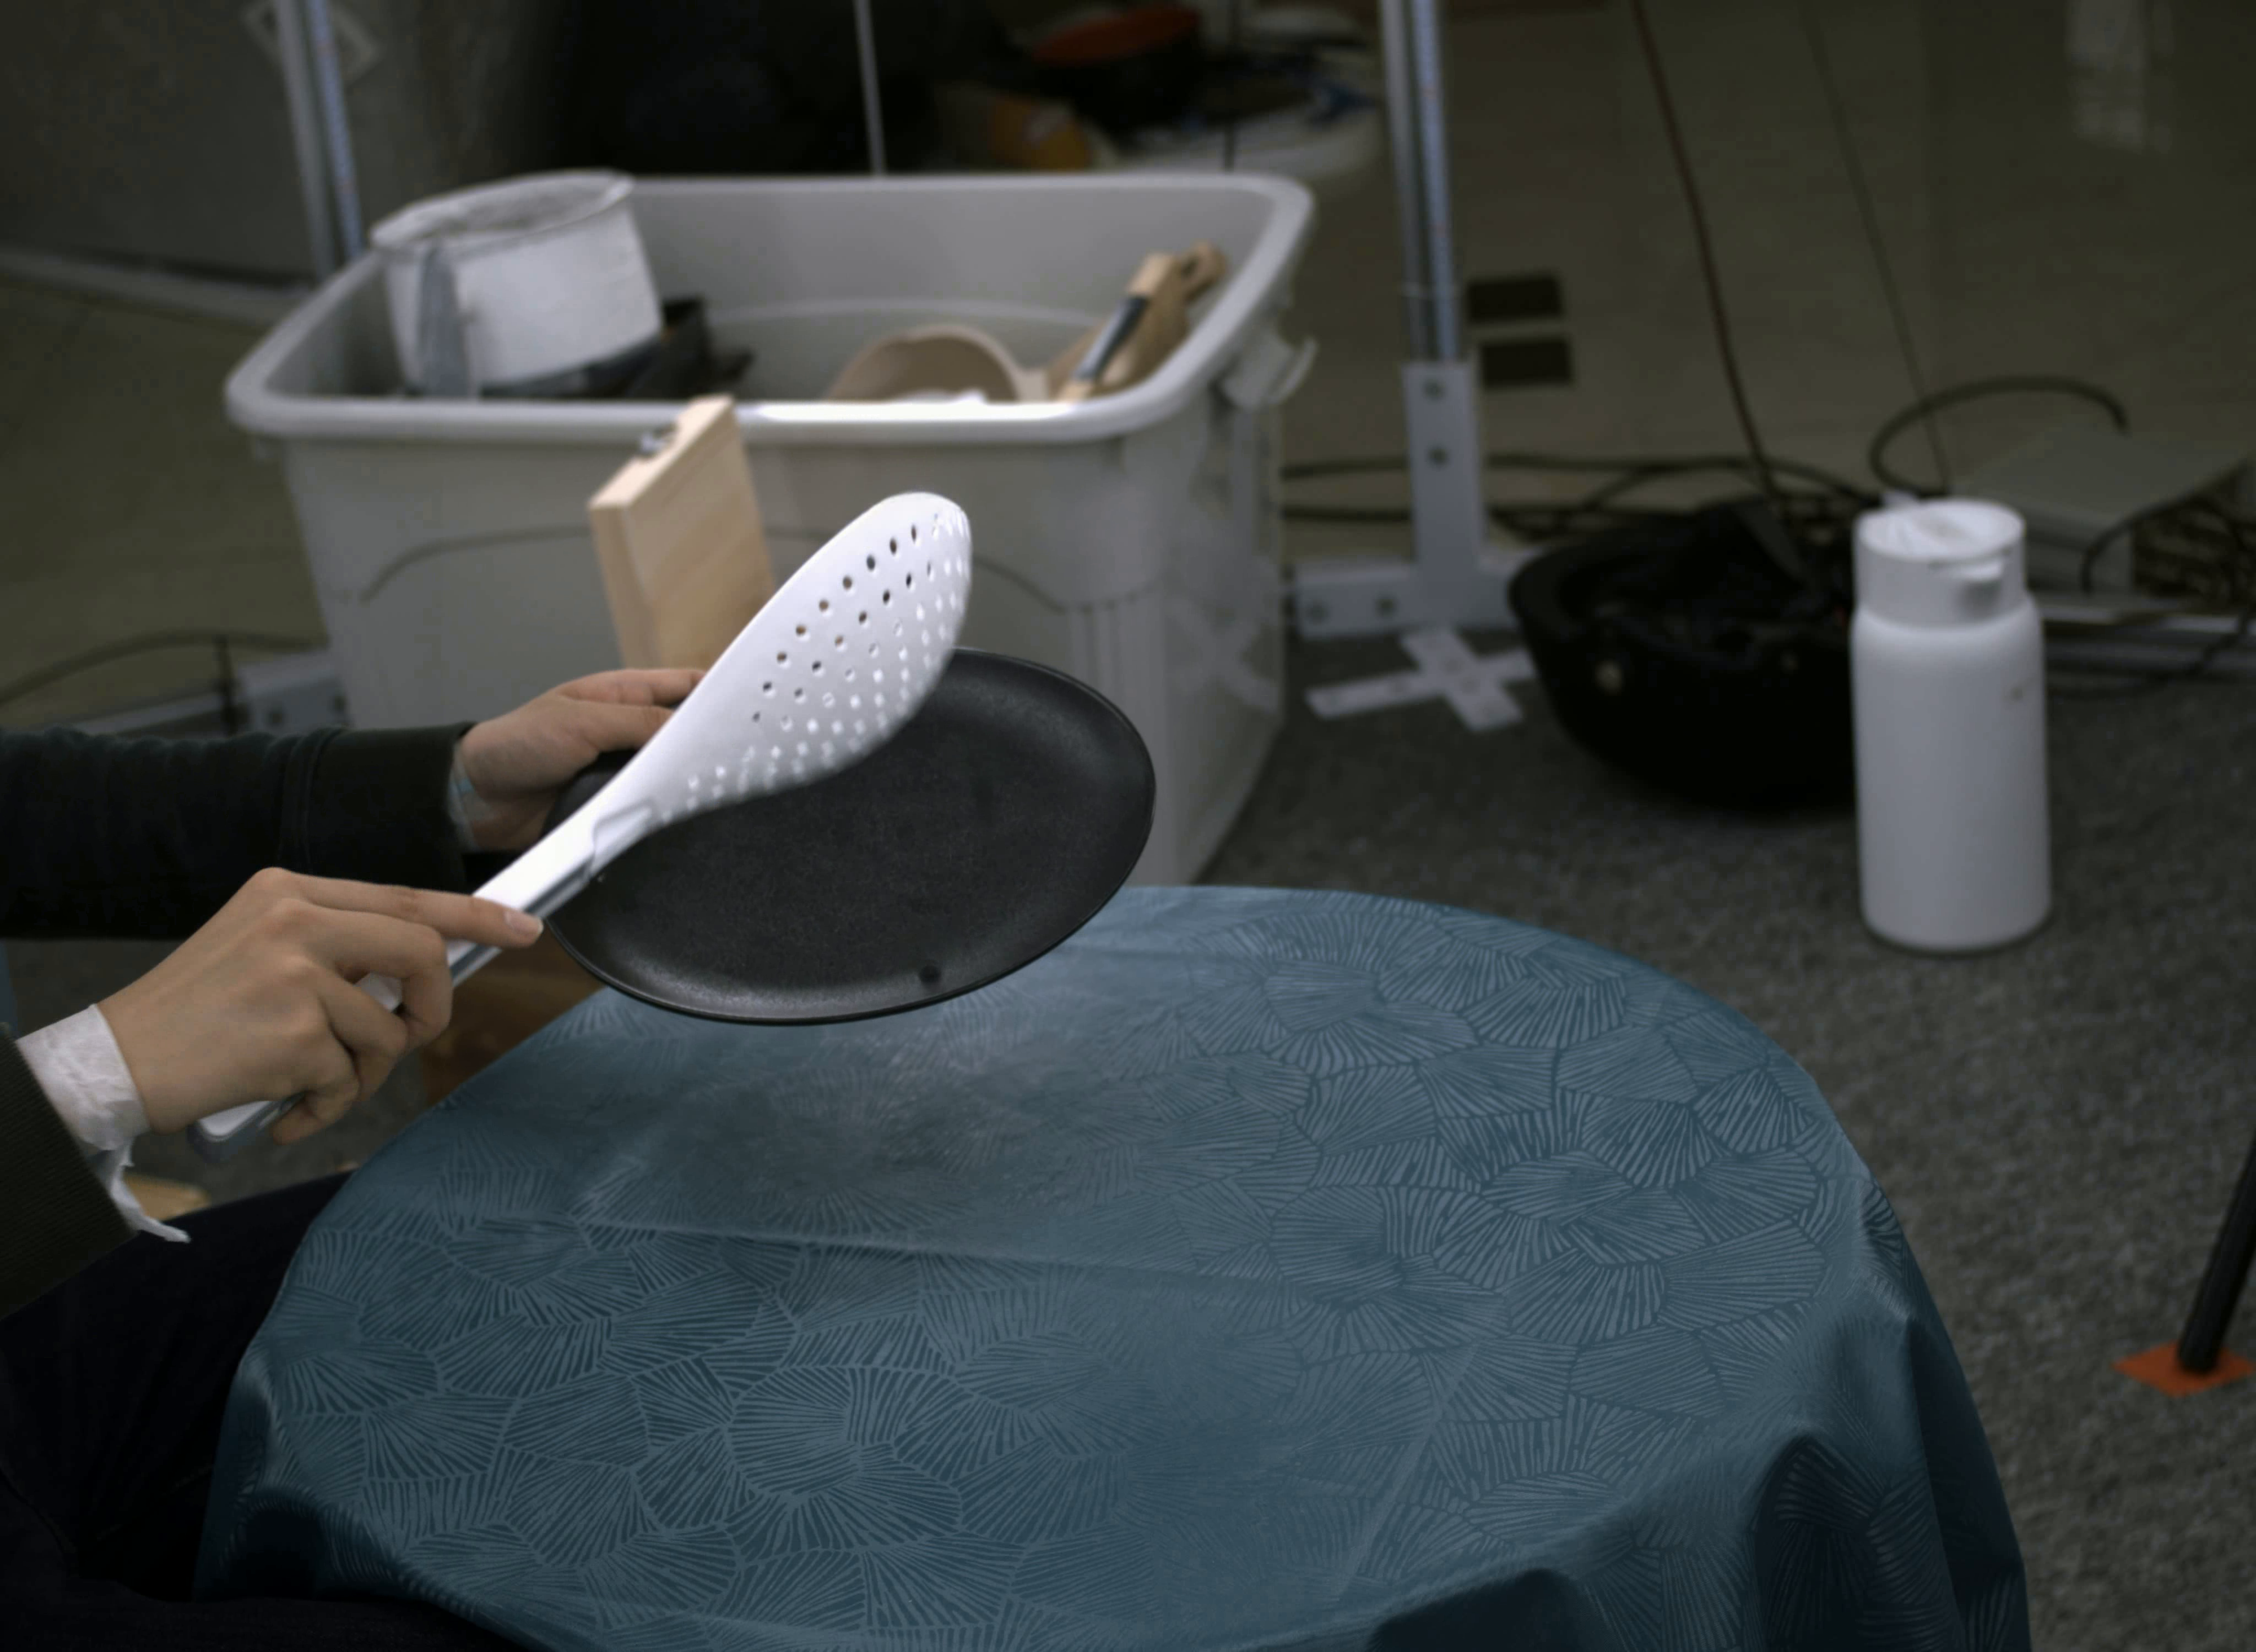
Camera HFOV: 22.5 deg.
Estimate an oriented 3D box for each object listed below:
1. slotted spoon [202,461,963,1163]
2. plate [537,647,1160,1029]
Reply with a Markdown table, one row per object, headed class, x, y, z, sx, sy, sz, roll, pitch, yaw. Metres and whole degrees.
| class | x | y | z | sx | sy | sz | roll | pitch | yaw |
| --- | --- | --- | --- | --- | --- | --- | --- | --- | --- |
| slotted spoon | -0.173 | -0.004 | 1.866 | 0.346 | 0.138 | 0.045 | -37 | 77 | -26 |
| plate | -0.107 | 0.009 | 2.181 | 0.244 | 0.024 | 0.240 | -6 | 37 | 5 |
